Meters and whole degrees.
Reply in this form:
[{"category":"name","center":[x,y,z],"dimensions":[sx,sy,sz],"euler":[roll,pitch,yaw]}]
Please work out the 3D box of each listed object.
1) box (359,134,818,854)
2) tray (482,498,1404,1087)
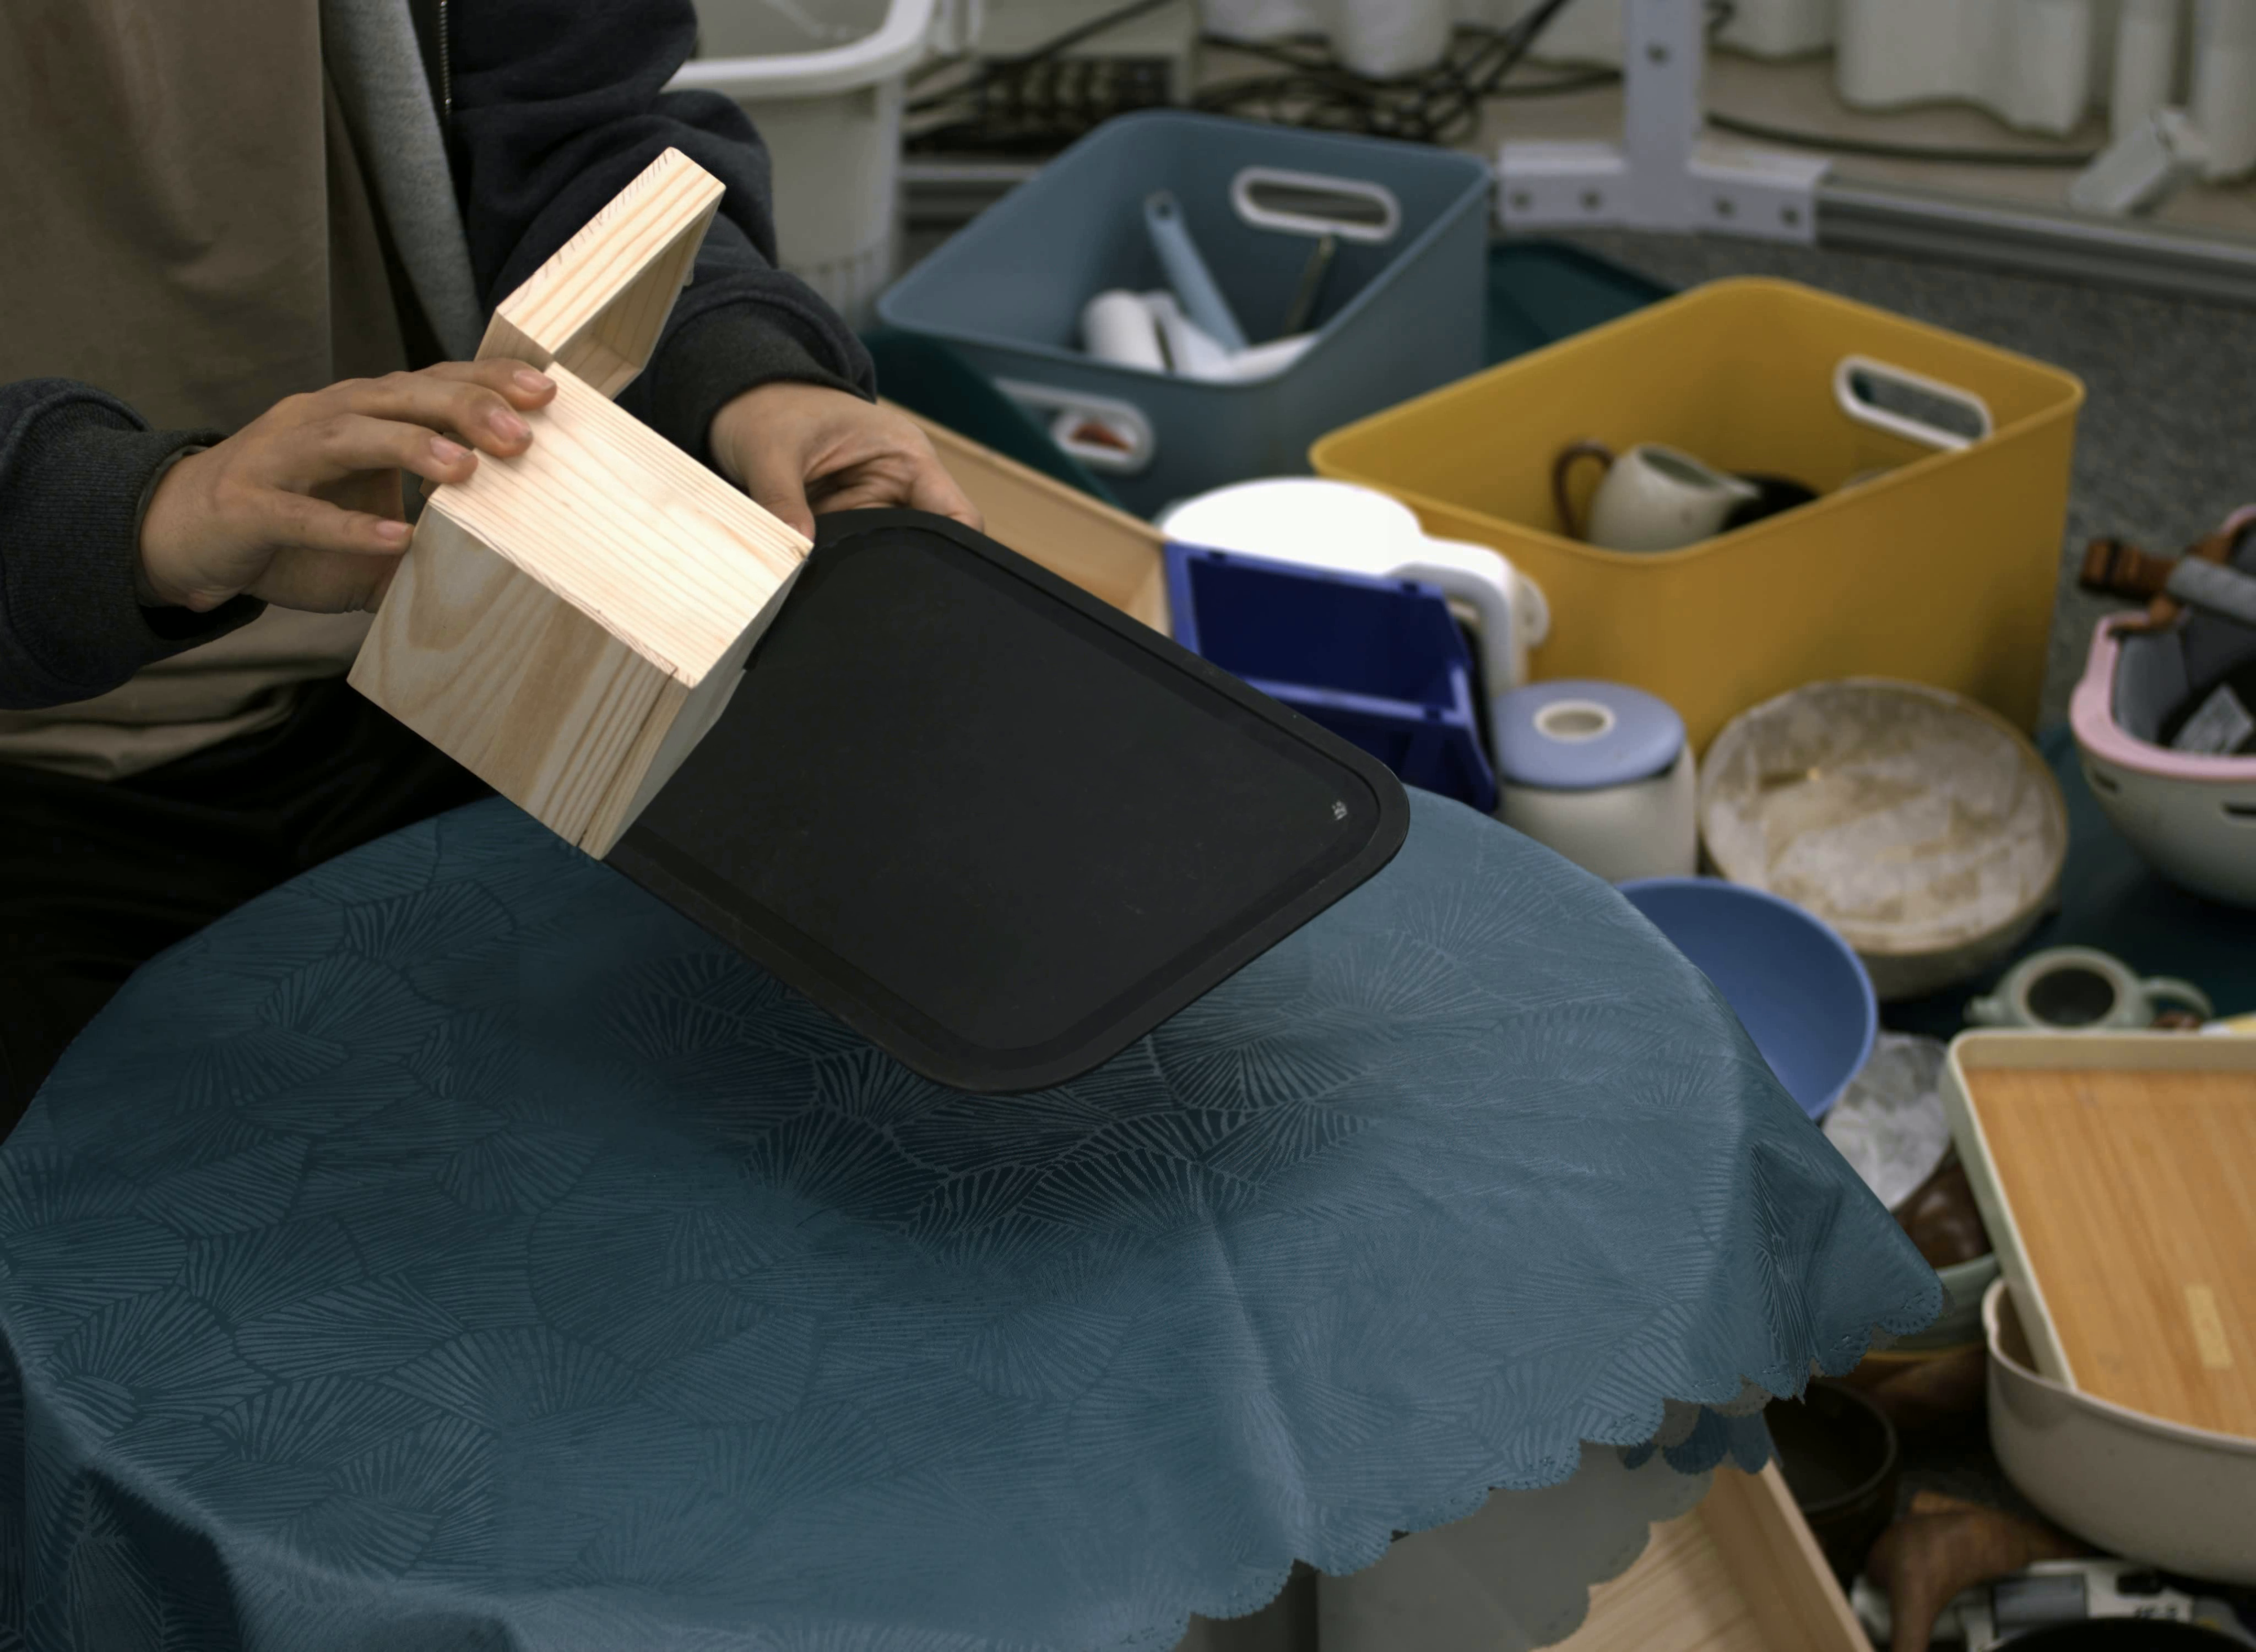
[{"category":"box","center":[-0.156,-0.108,1.819],"dimensions":[0.133,0.101,0.188],"euler":[34,50,1]},{"category":"tray","center":[-0.073,-0.022,1.937],"dimensions":[0.213,0.009,0.326],"euler":[-32,45,-29]}]
